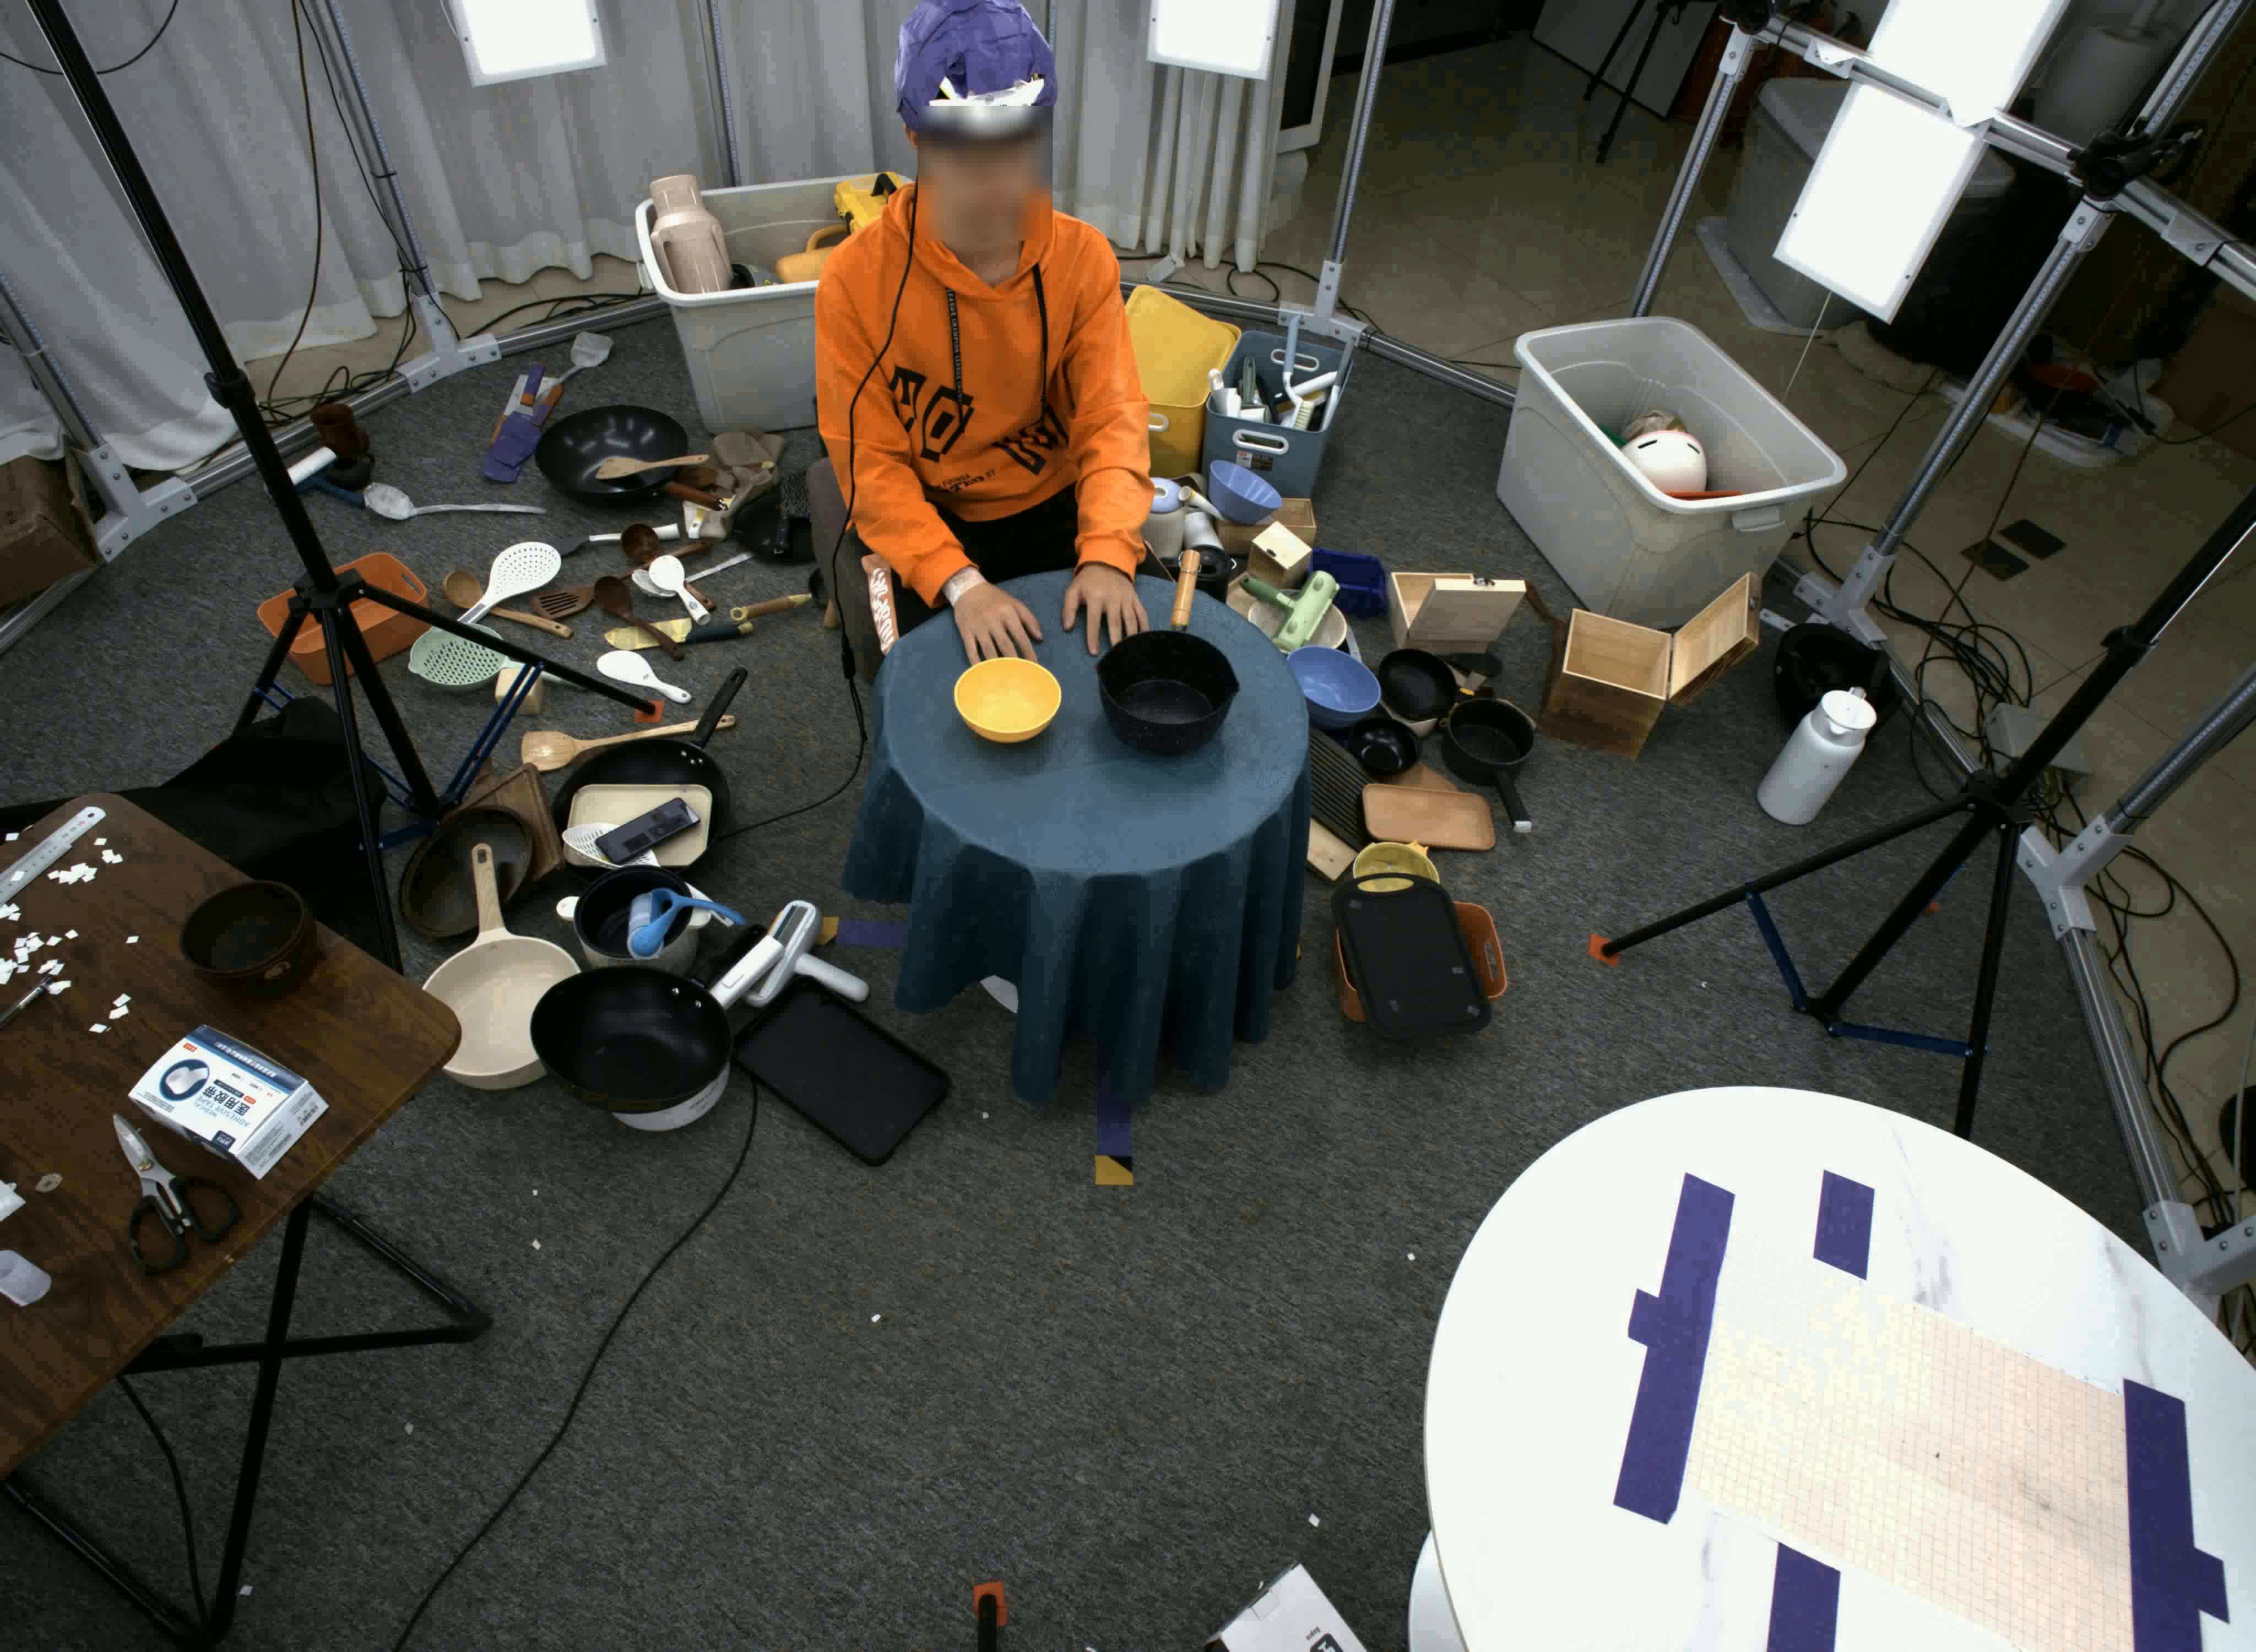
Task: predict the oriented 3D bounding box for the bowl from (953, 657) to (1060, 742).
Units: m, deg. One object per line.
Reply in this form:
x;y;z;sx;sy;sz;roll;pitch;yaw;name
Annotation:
-0.166;-0.161;1.760;0.145;0.058;0.149;3;49;-3;bowl

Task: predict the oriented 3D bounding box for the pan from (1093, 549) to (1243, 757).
0.064;-0.246;1.817;0.207;0.105;0.351;8;50;4;pan
